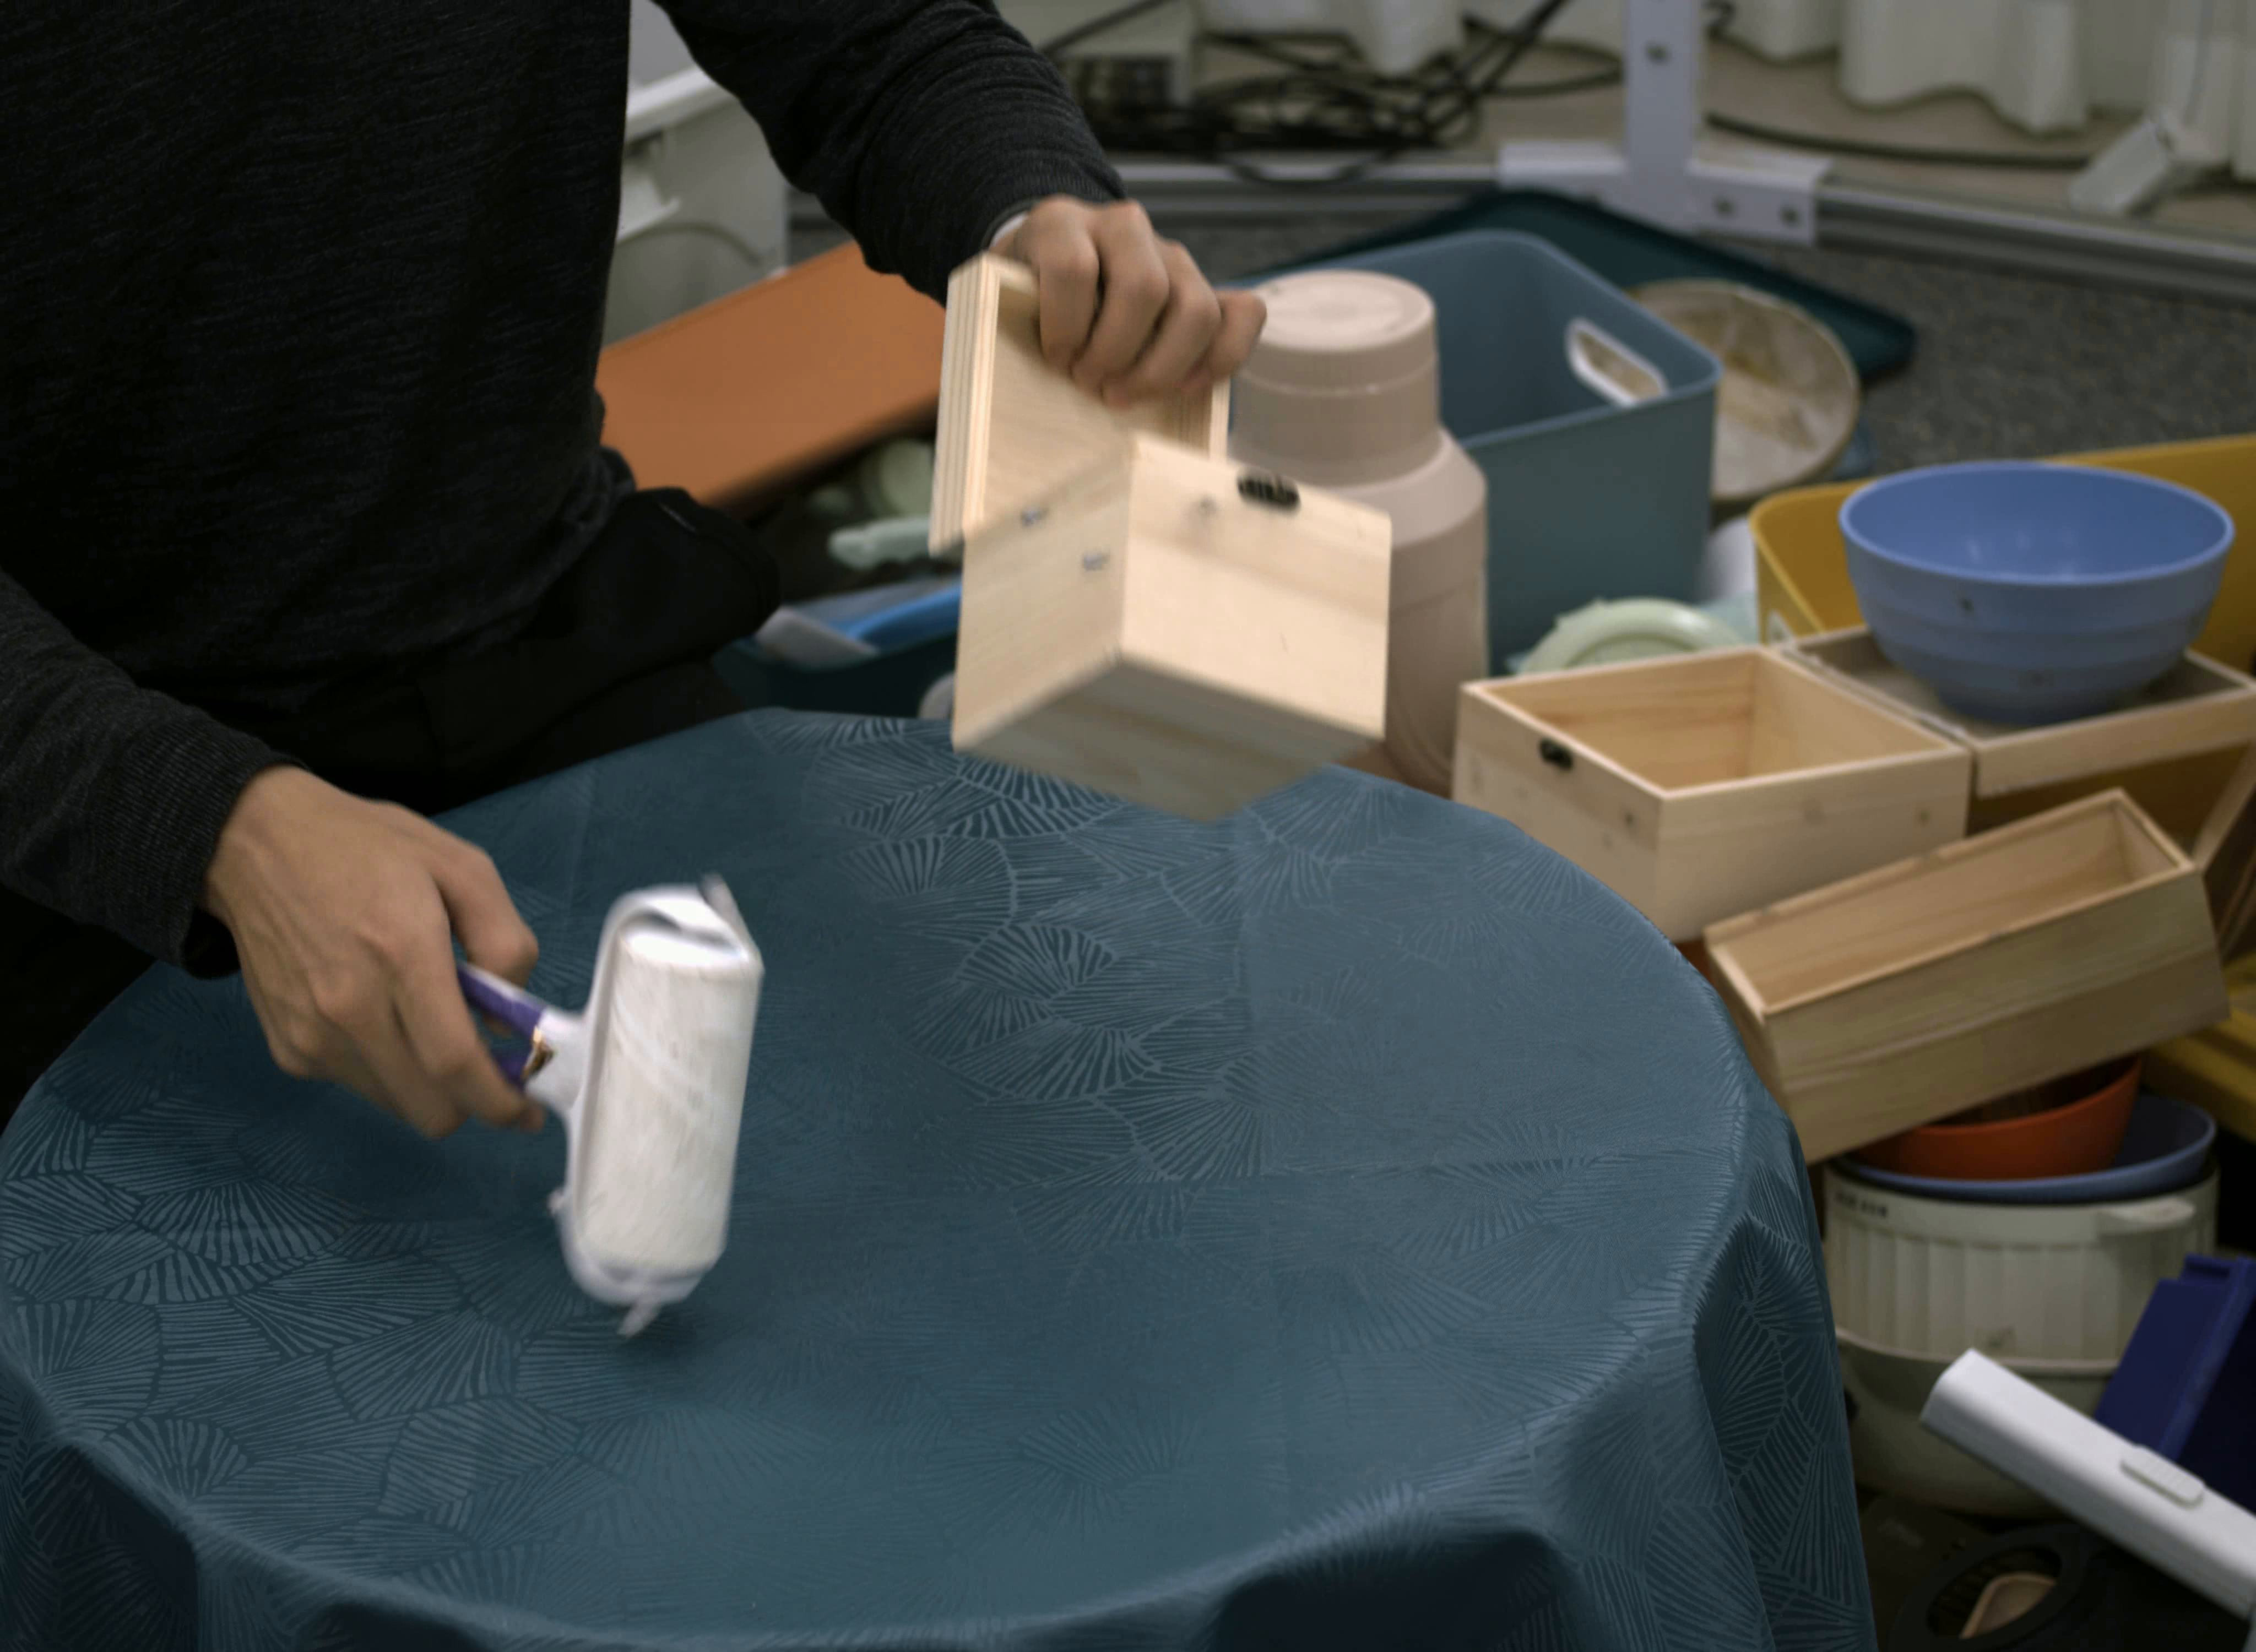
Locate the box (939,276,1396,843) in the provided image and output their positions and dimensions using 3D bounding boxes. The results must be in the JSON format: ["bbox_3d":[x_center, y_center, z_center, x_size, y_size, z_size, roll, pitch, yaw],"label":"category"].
[{"bbox_3d":[0.014,-0.102,1.845,0.102,0.187,0.132,16,-26,-30],"label":"box"}]

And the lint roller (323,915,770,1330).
[{"bbox_3d":[-0.201,0.076,1.810,0.180,0.133,0.050,19,6,29],"label":"lint roller"}]
